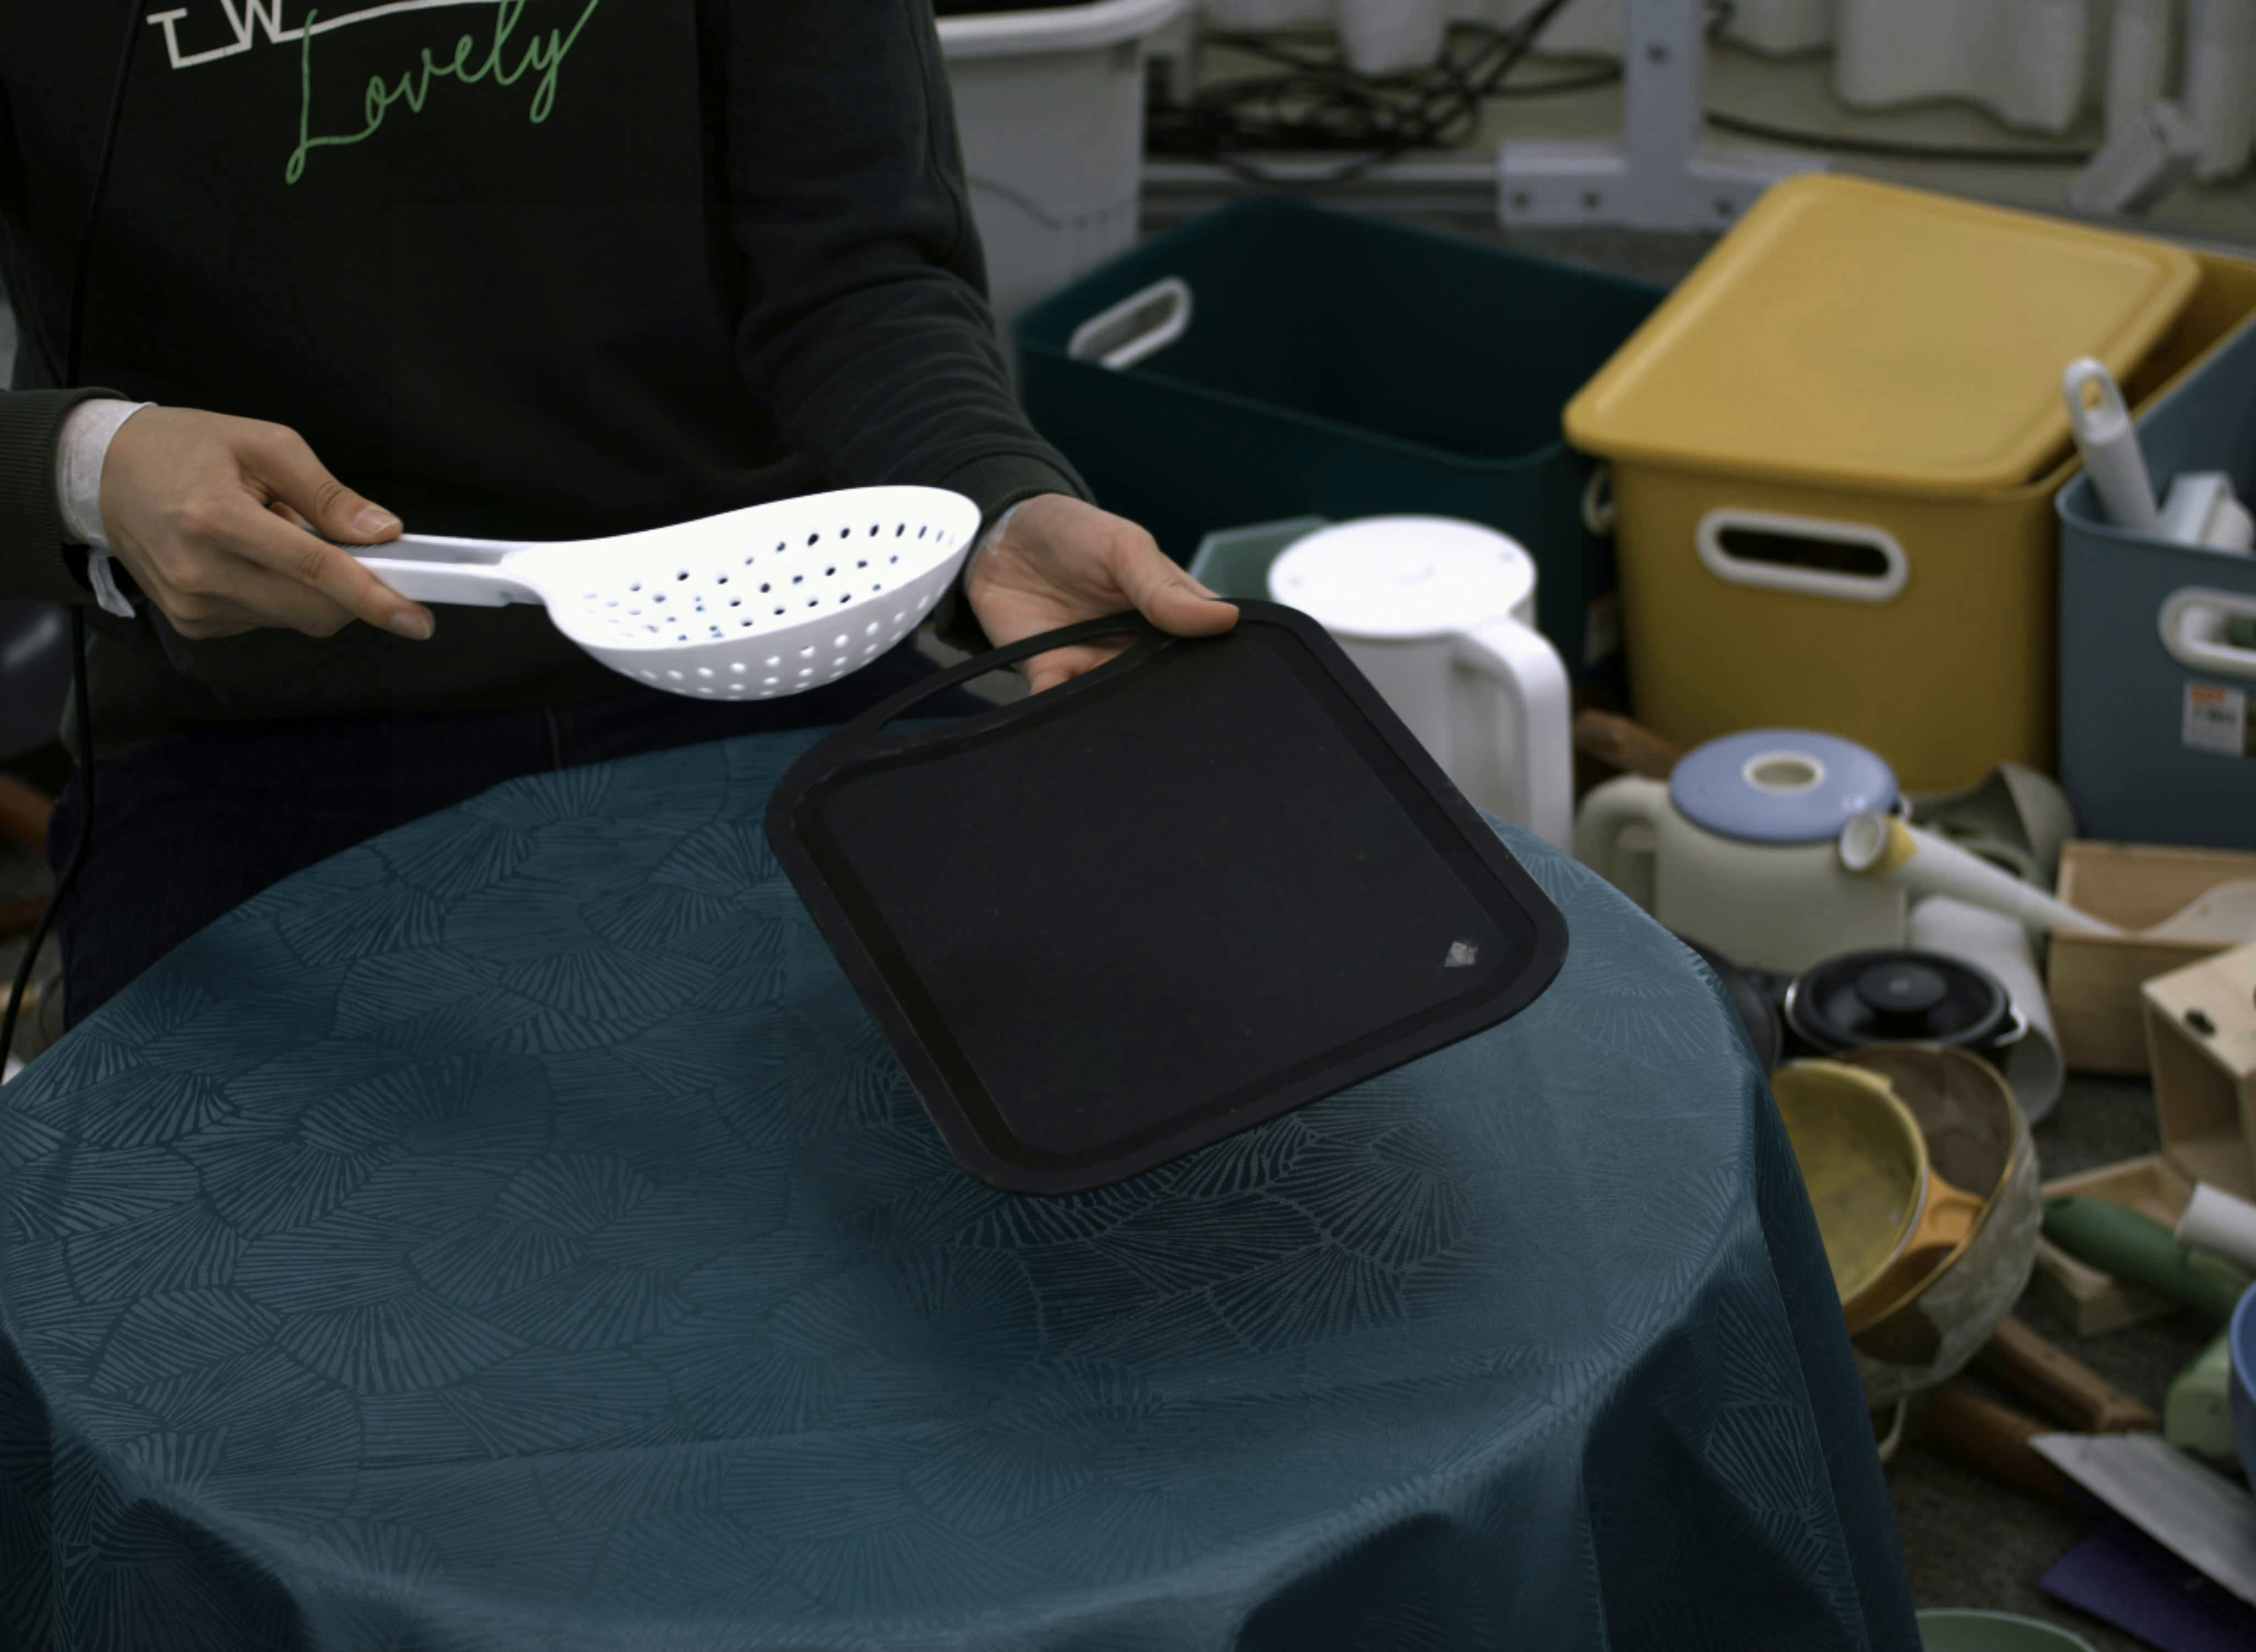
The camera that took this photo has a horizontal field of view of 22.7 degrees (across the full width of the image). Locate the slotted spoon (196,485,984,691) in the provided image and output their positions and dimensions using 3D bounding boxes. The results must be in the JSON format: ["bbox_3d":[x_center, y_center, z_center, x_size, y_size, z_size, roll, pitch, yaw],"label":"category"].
[{"bbox_3d":[-0.189,-0.084,1.850,0.347,0.045,0.138,10,29,40],"label":"slotted spoon"}]

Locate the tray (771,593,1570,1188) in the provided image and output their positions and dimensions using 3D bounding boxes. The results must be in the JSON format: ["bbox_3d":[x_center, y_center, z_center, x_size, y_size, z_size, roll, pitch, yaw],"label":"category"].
[{"bbox_3d":[0.004,0.011,1.867,0.211,0.009,0.328,-21,32,-9],"label":"tray"}]
